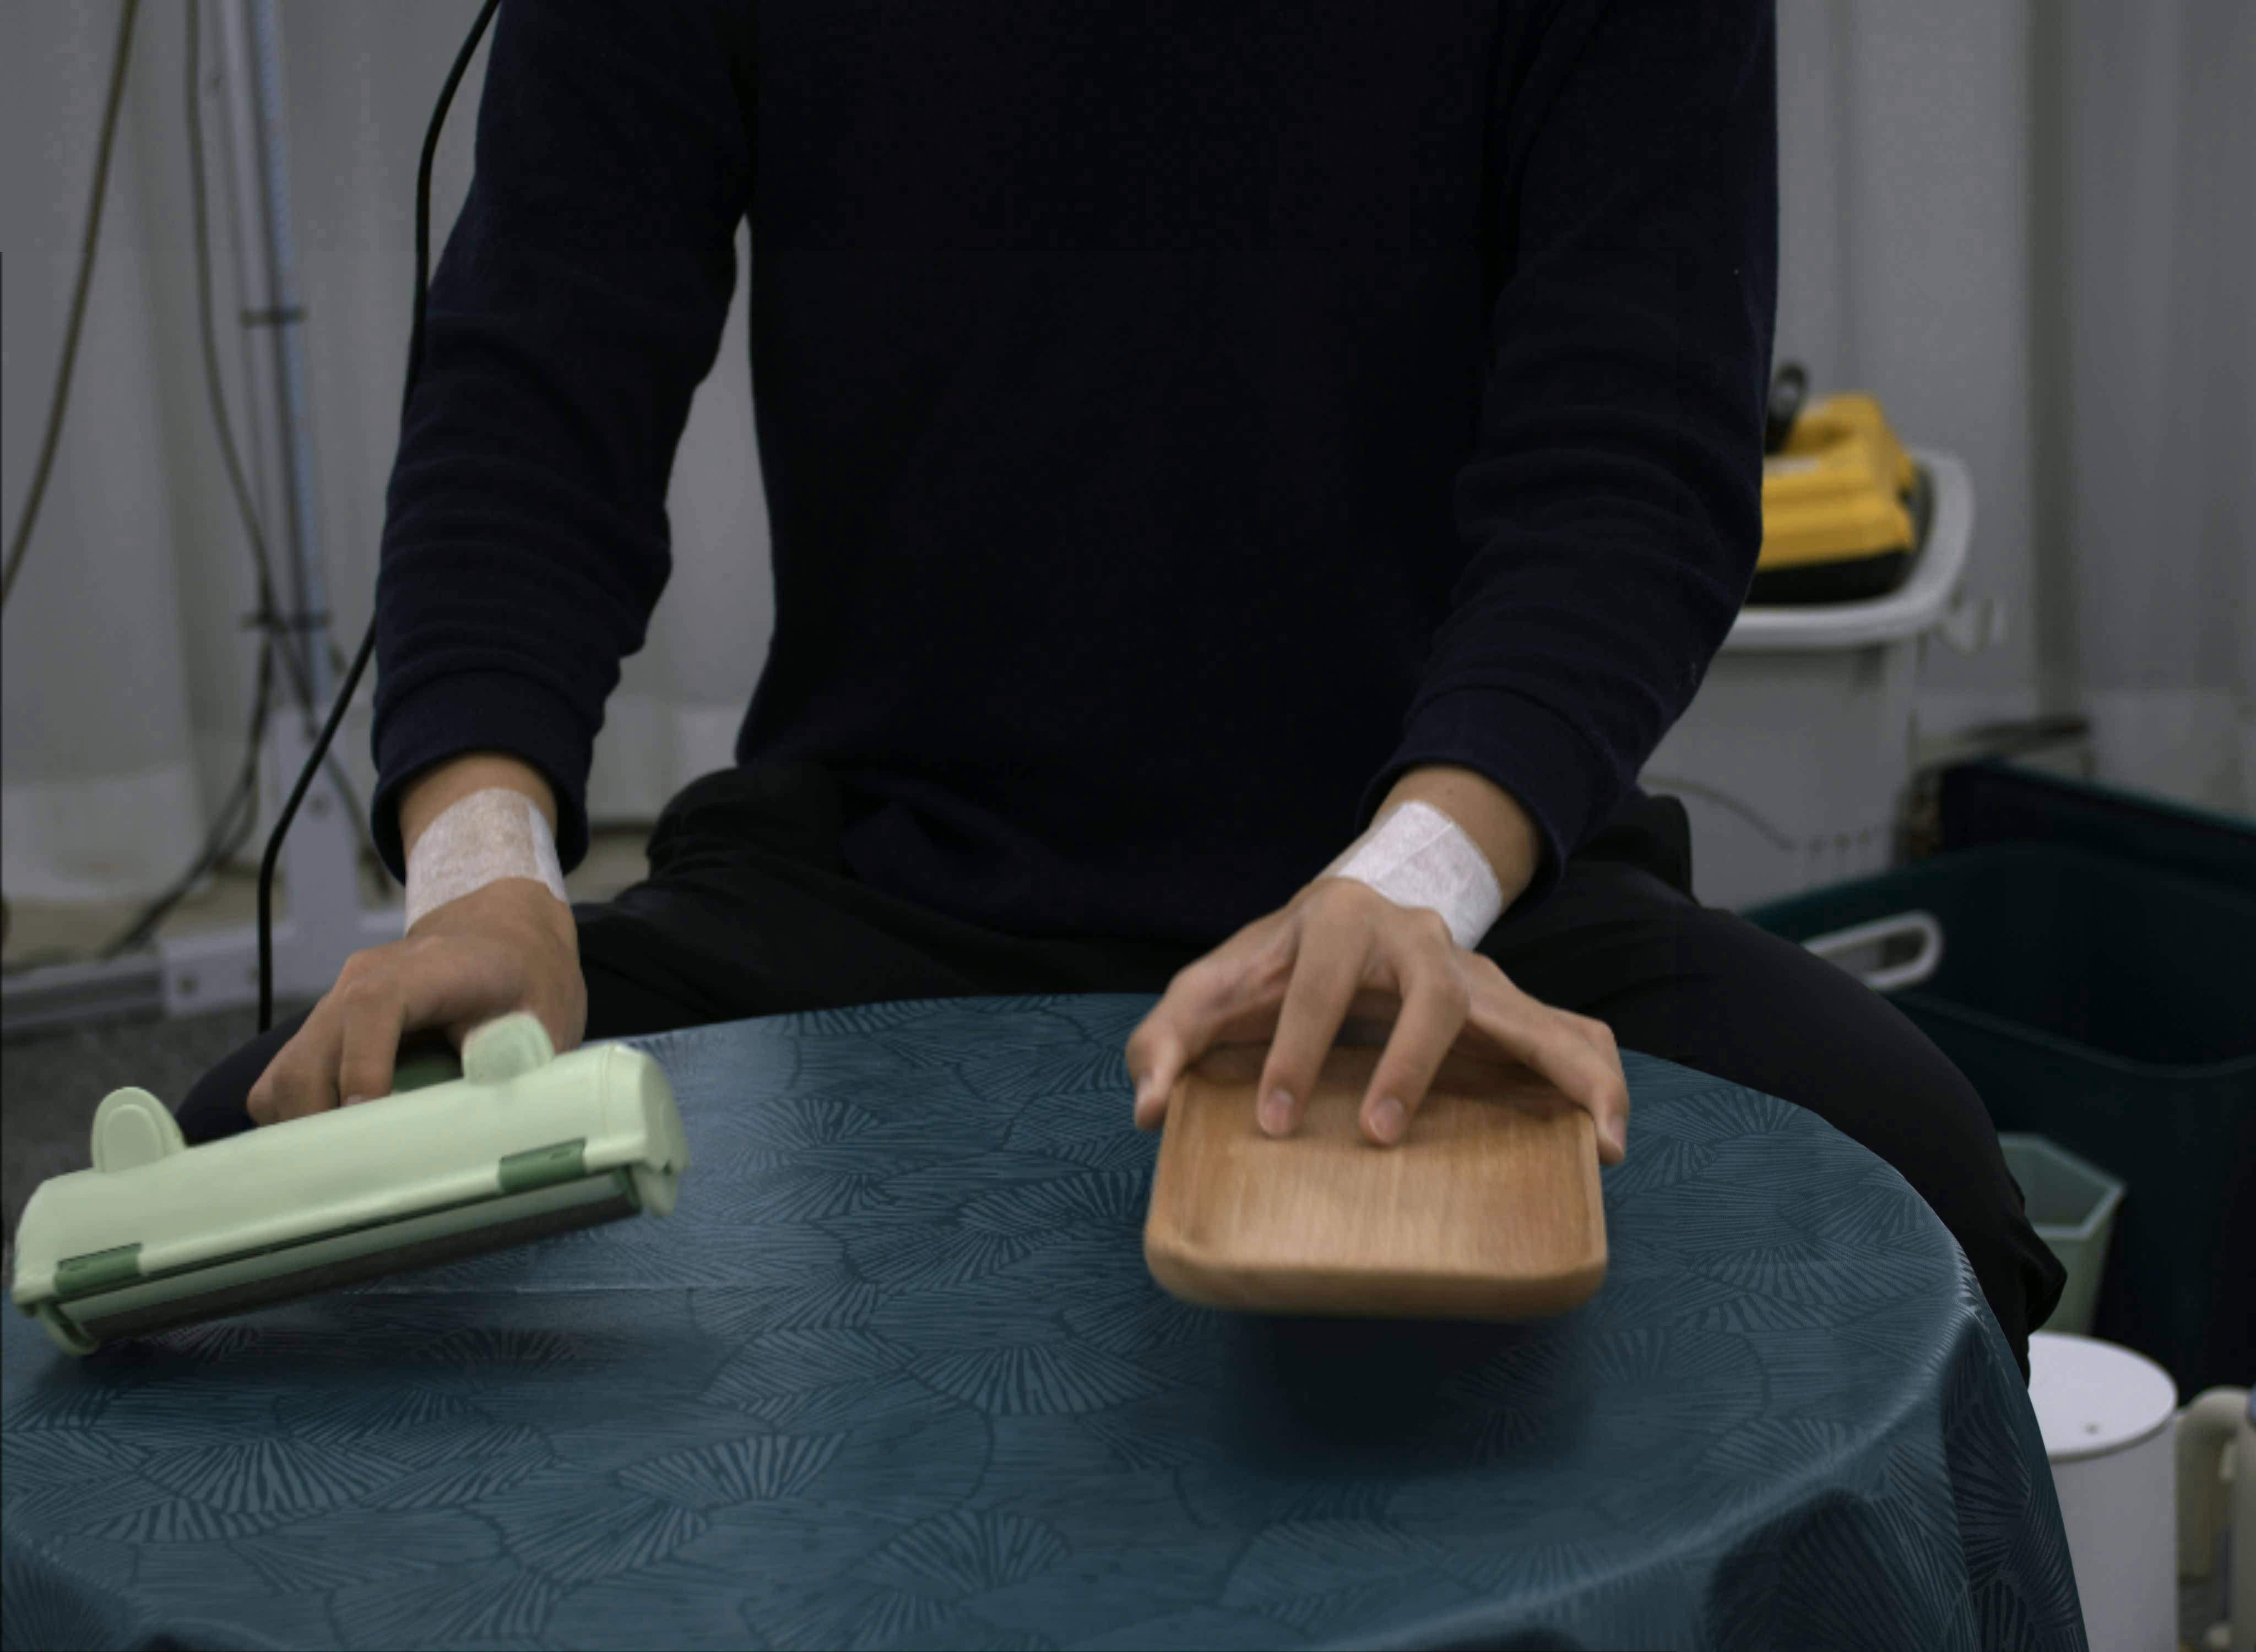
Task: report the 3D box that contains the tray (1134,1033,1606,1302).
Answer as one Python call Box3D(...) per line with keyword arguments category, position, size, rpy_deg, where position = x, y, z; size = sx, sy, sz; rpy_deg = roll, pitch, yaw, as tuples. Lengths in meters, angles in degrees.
Box3D(category="tray", position=(0.071, 0.096, 1.576), size=(0.130, 0.023, 0.251), rpy_deg=(5, 10, 3))

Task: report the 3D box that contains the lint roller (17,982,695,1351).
Box3D(category="lint roller", position=(-0.228, 0.077, 1.655), size=(0.198, 0.081, 0.185), rpy_deg=(-15, 24, 7))
